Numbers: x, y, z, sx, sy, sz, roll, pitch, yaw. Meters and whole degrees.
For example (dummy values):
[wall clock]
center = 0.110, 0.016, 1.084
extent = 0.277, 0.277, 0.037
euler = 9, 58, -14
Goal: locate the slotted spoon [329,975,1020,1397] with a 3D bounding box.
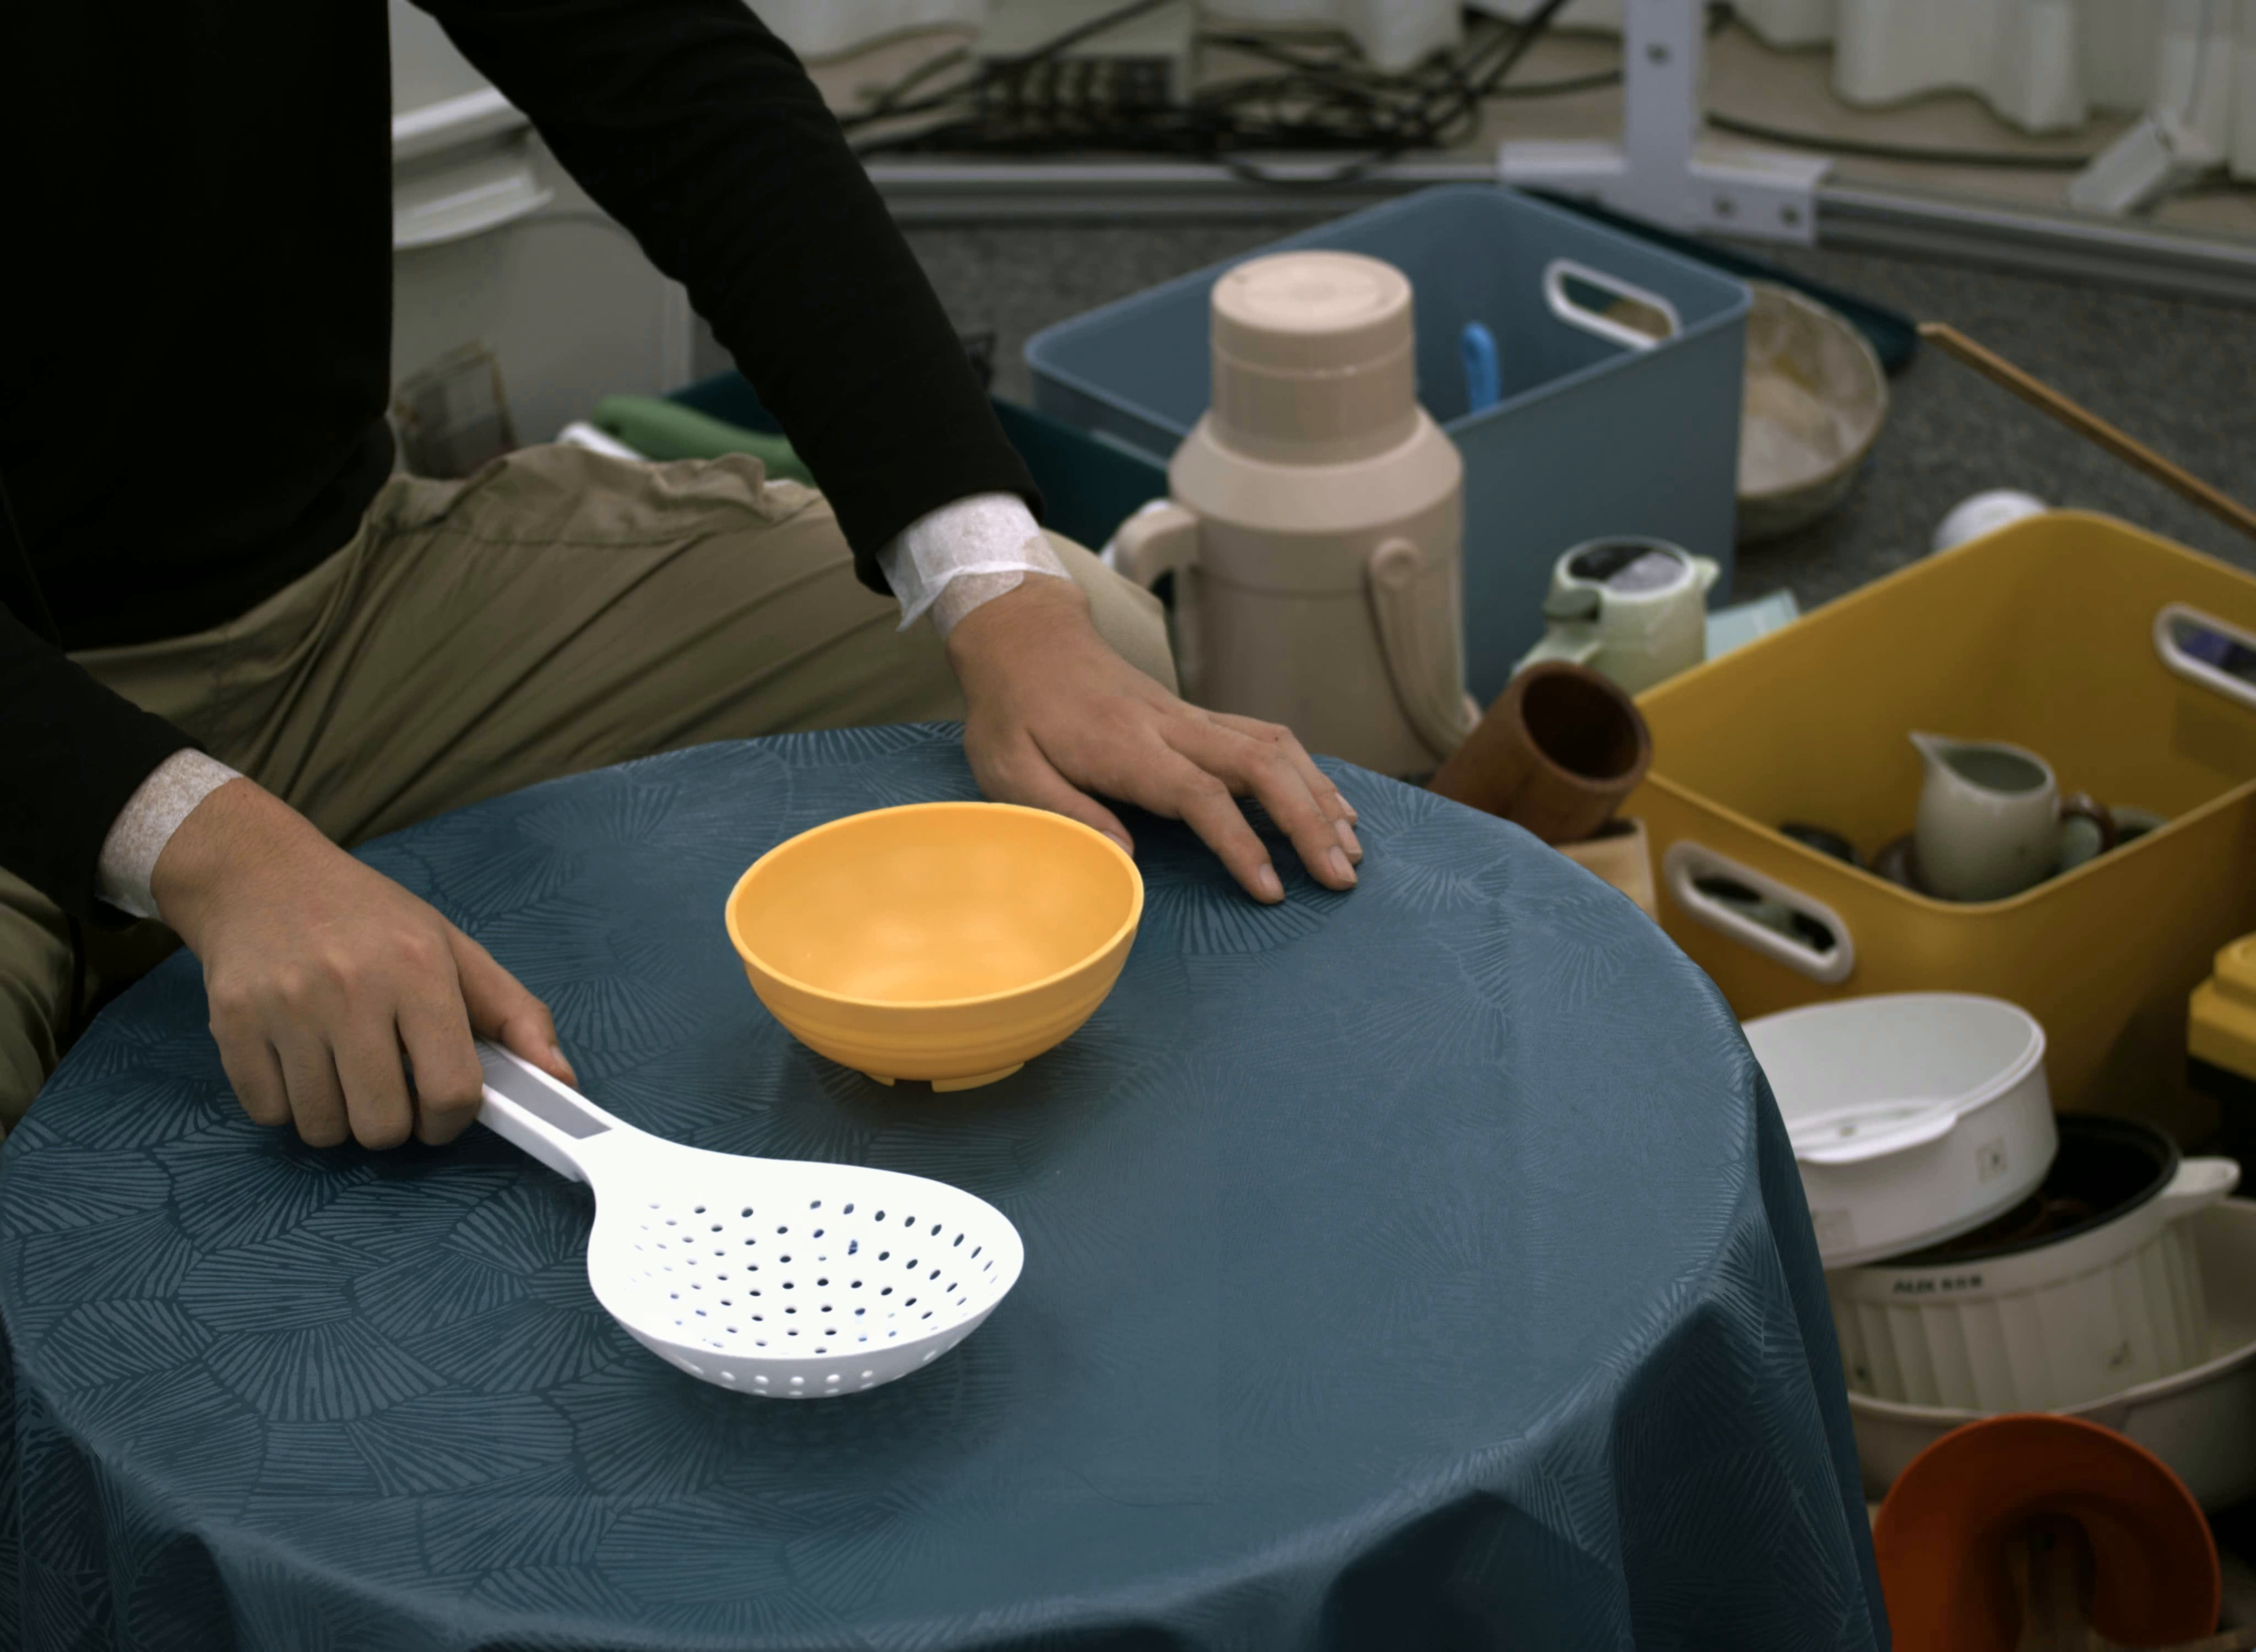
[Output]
[slotted spoon]
center = -0.166, 0.111, 1.840
extent = 0.137, 0.045, 0.350
euler = -16, 31, -34

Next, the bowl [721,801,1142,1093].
[bowl]
center = -0.067, 0.051, 1.943
extent = 0.144, 0.059, 0.147
euler = -1, 28, 1
